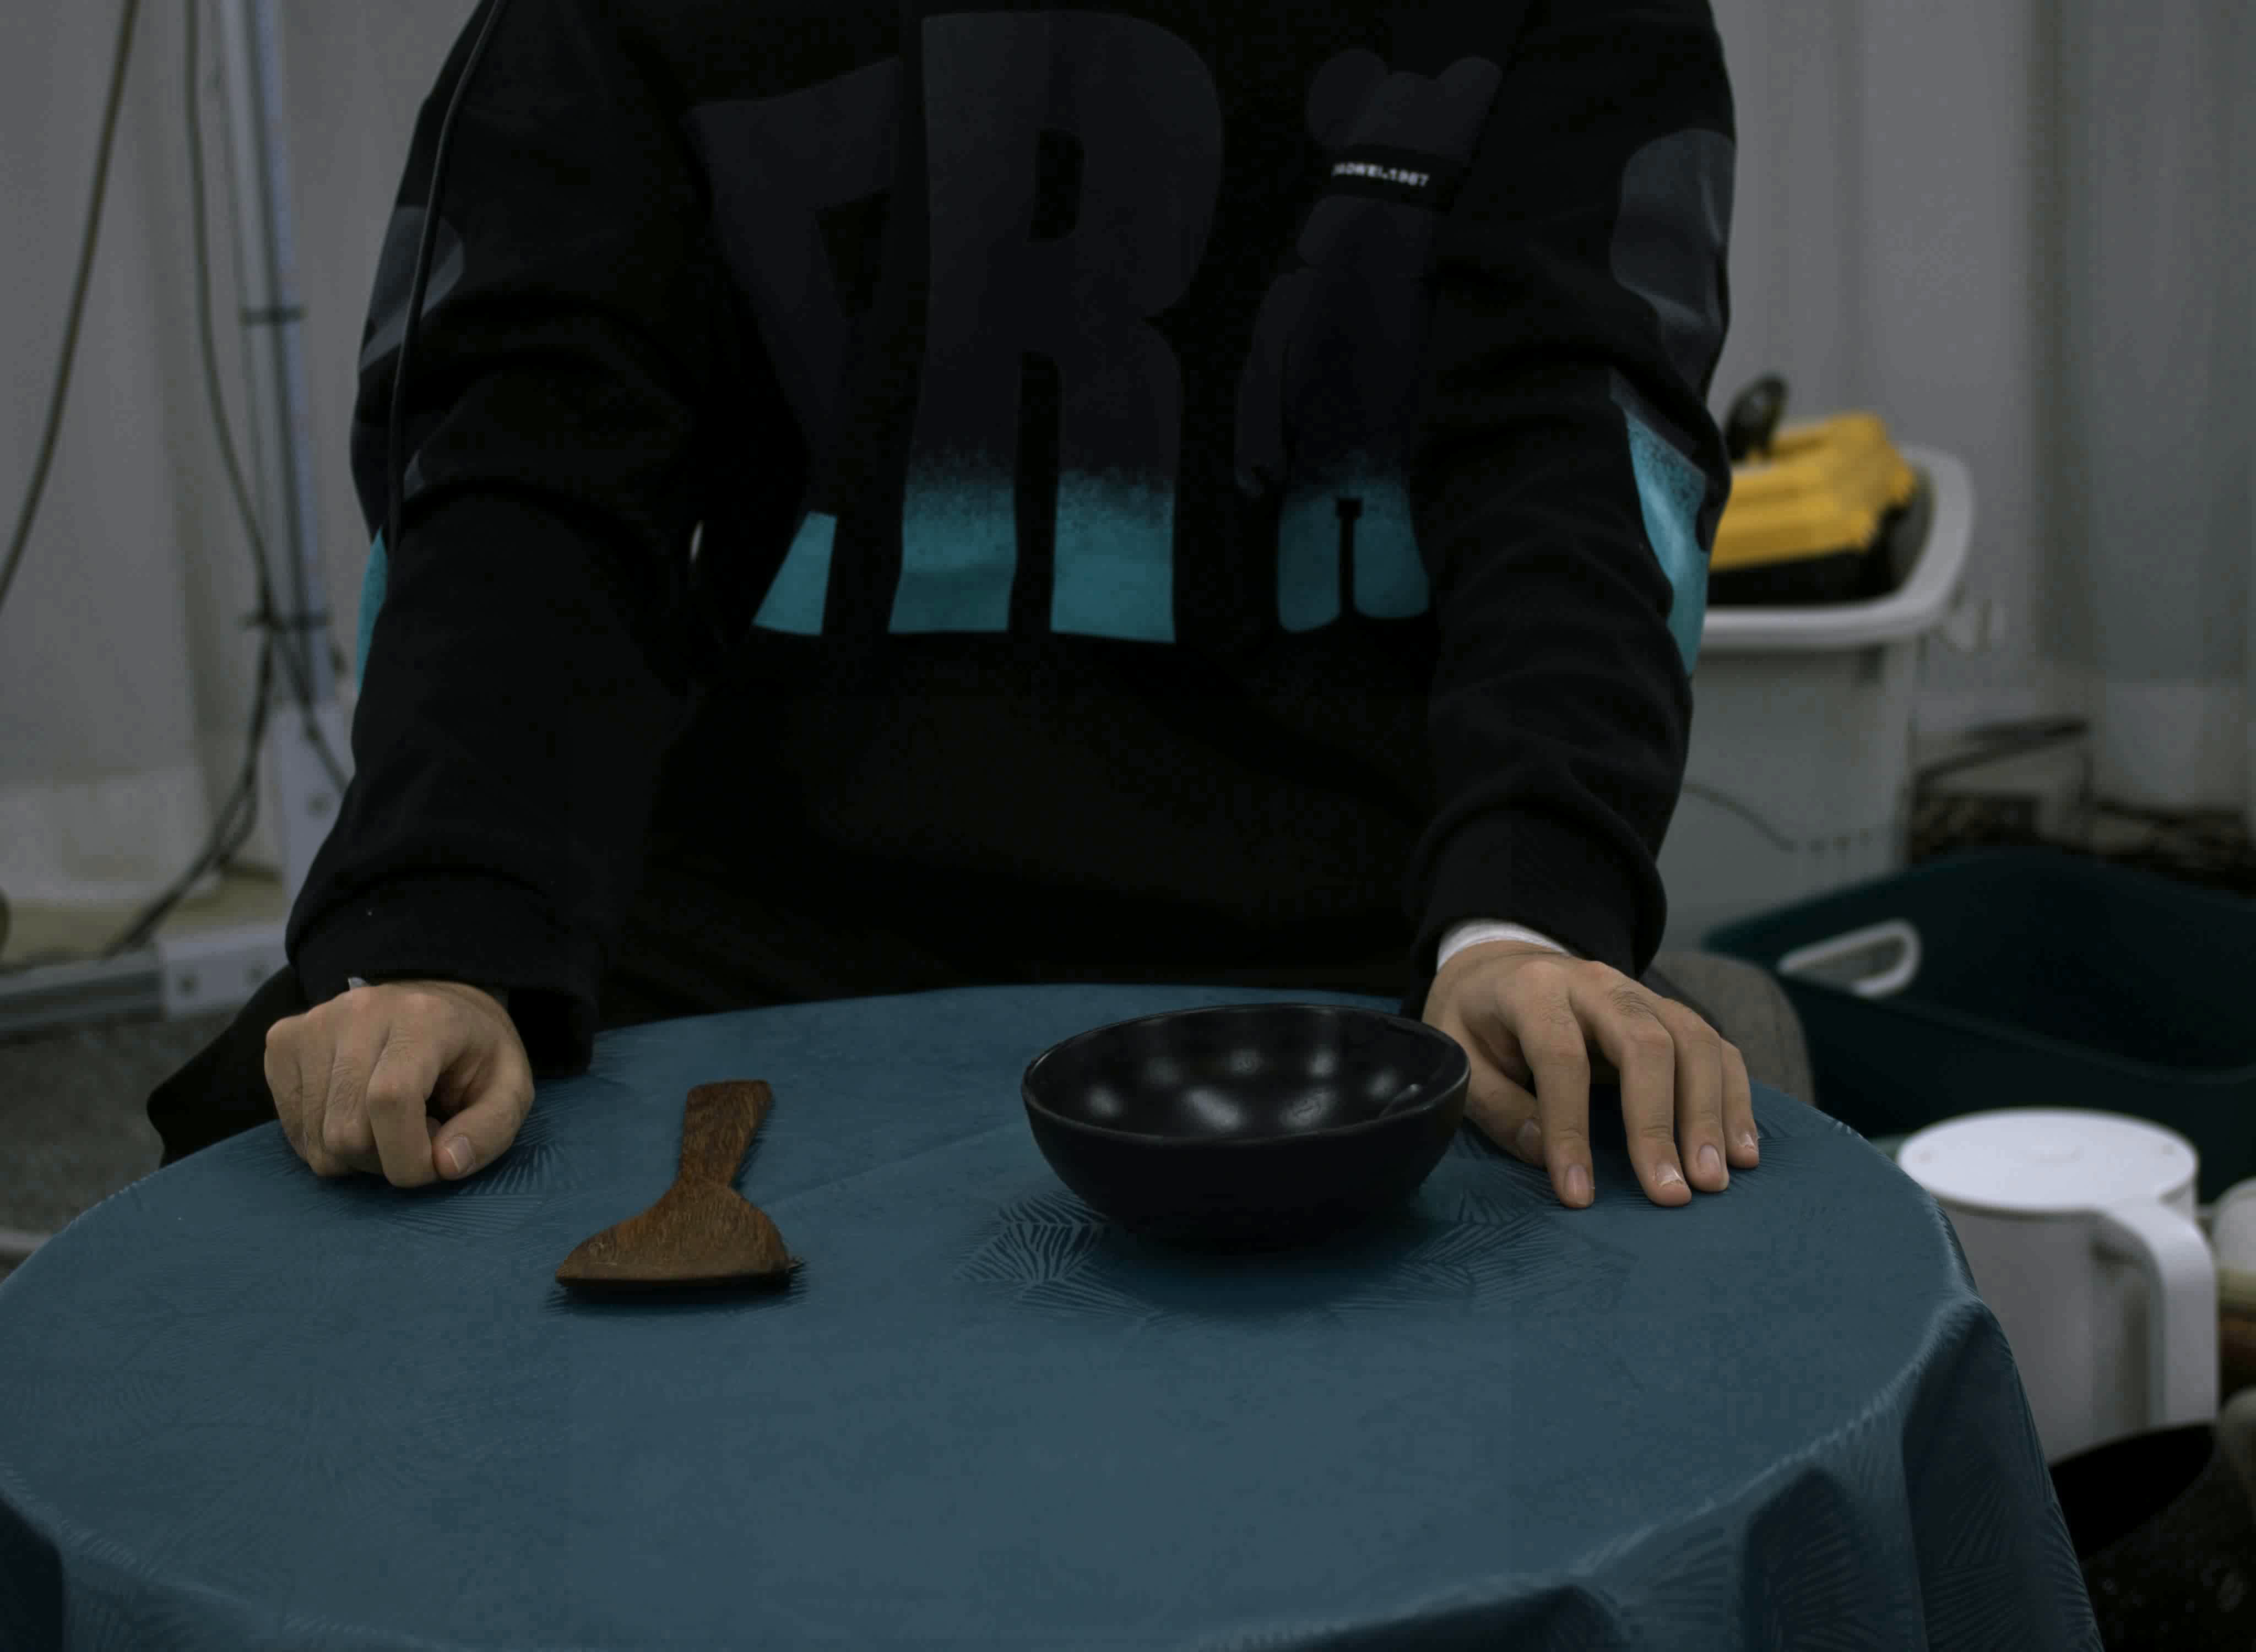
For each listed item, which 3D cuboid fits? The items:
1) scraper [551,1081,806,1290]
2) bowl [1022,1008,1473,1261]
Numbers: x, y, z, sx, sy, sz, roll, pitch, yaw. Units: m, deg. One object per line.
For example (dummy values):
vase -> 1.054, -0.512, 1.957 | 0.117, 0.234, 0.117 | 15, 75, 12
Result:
scraper -> -0.134, 0.113, 1.730 | 0.075, 0.011, 0.212 | -1, 14, 1
bowl -> 0.039, 0.099, 1.677 | 0.139, 0.049, 0.141 | -5, 14, 1
